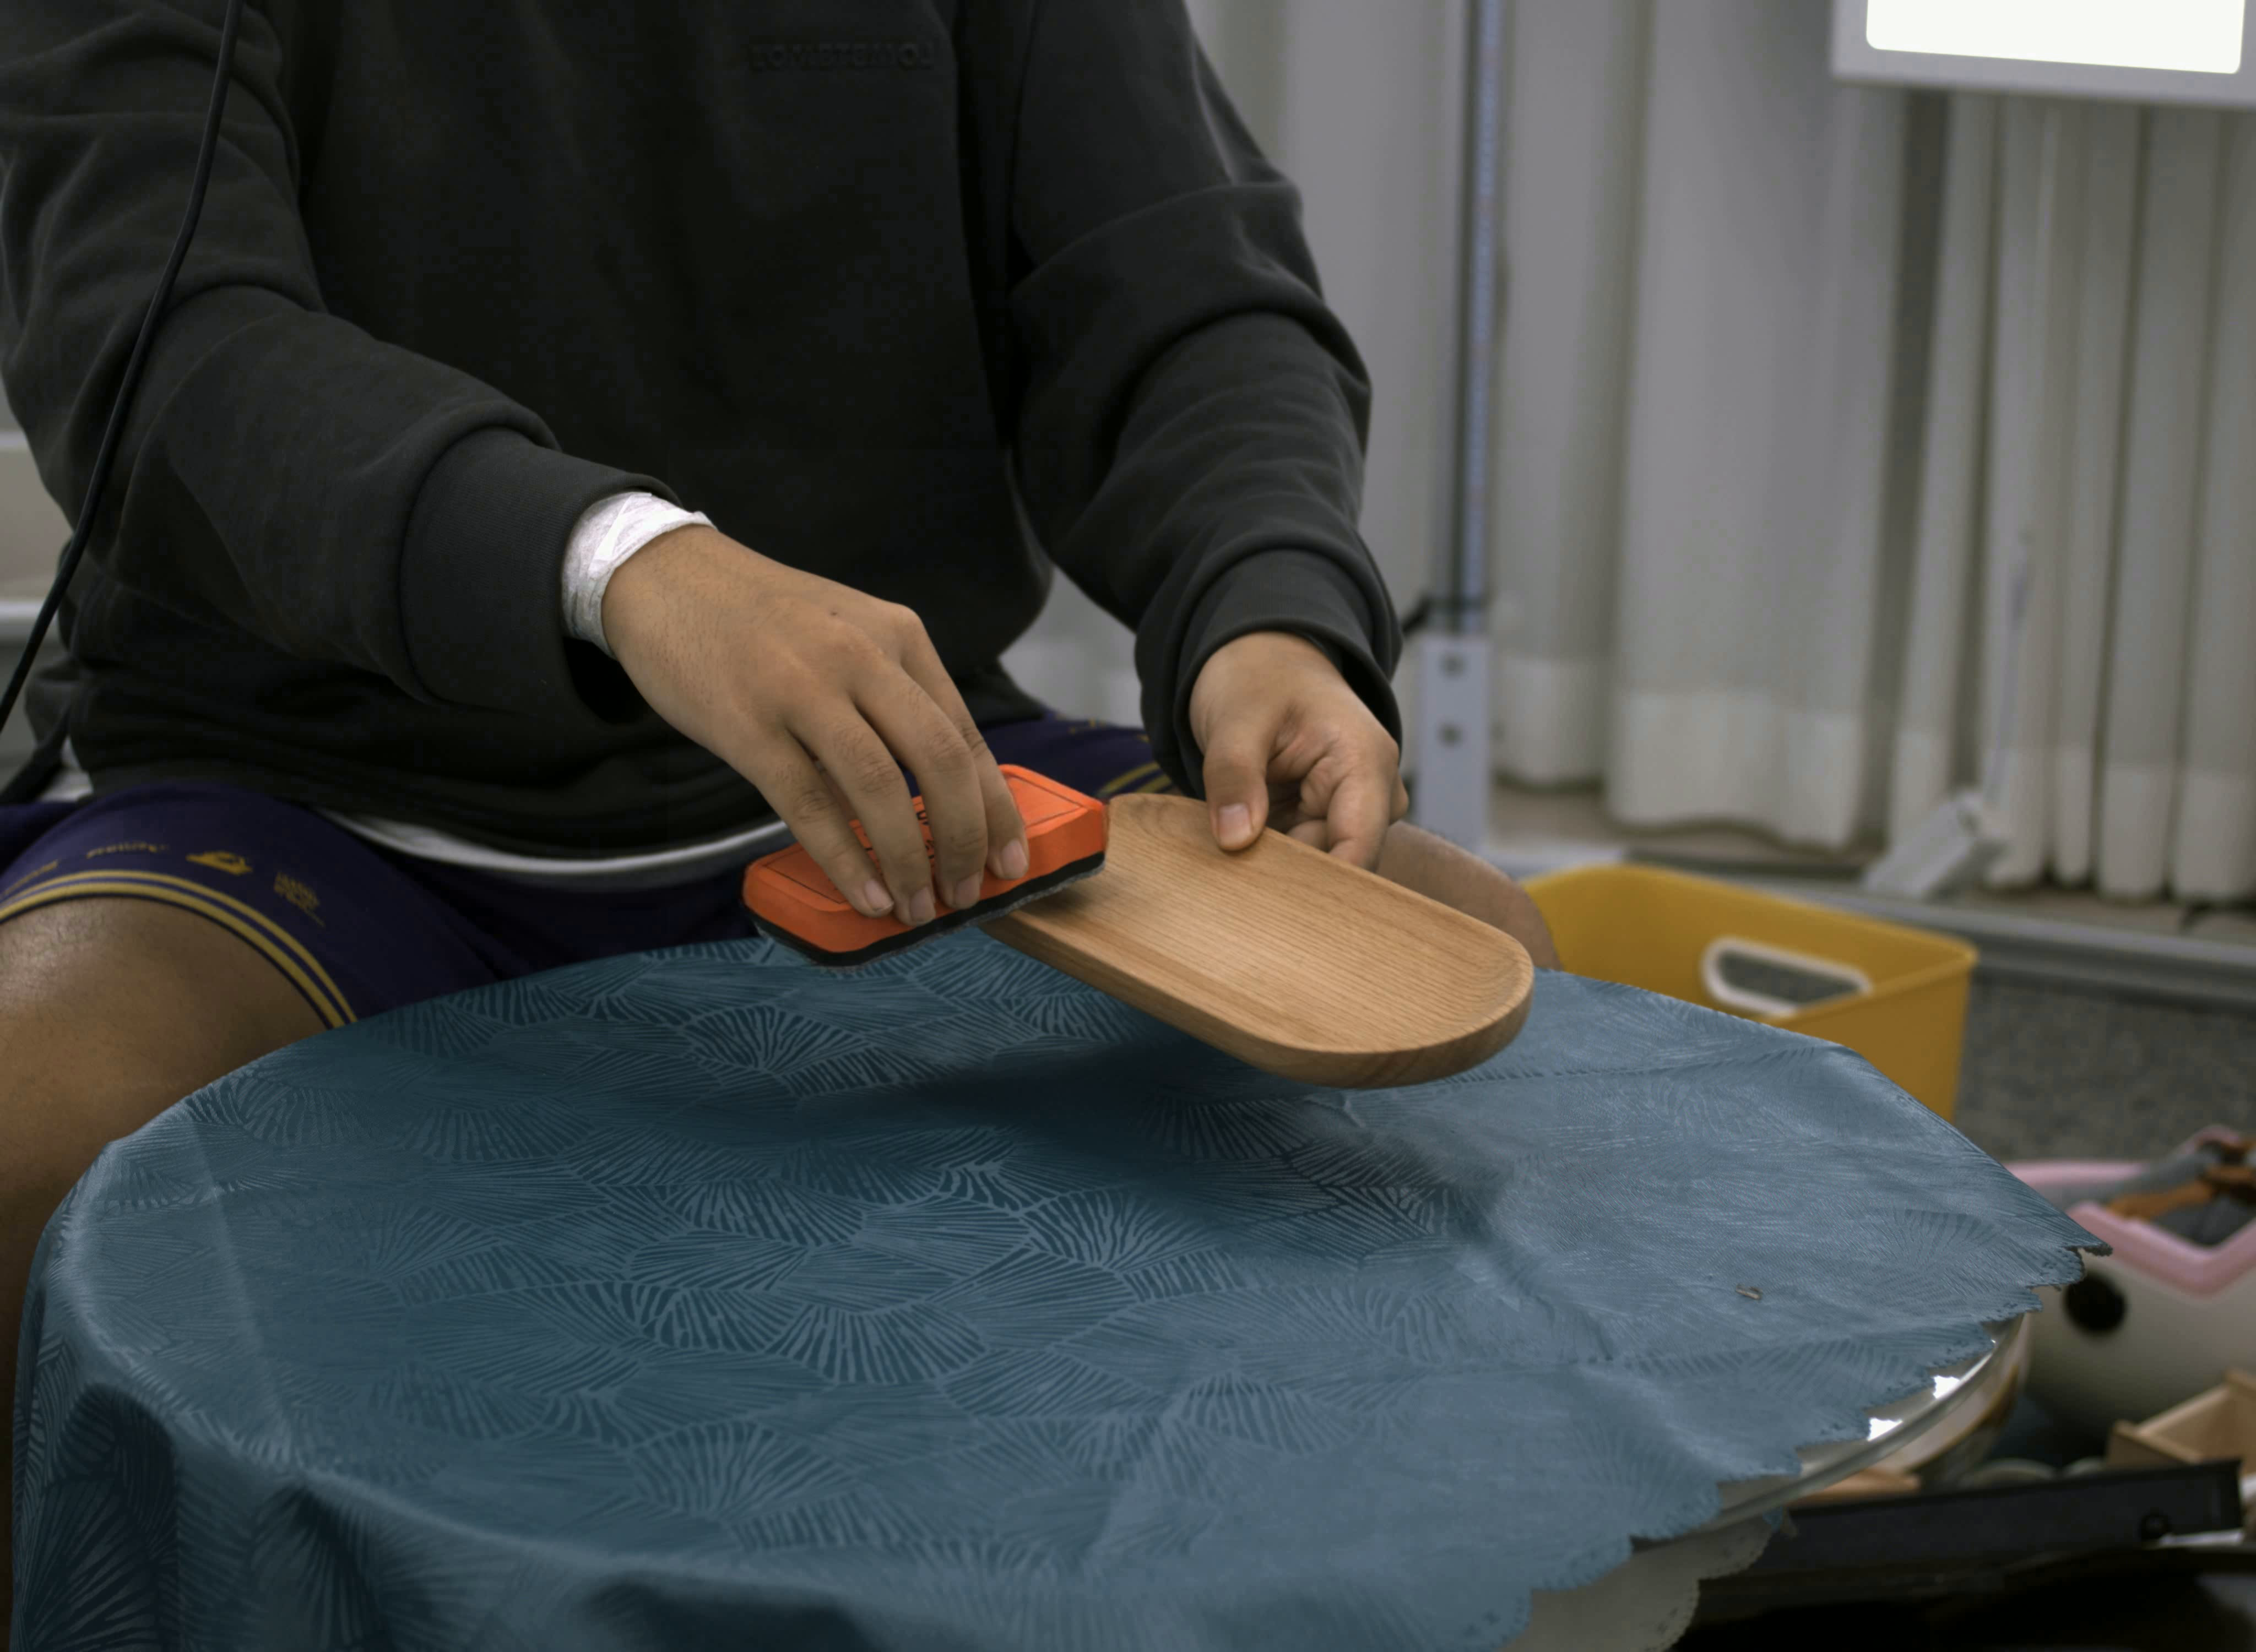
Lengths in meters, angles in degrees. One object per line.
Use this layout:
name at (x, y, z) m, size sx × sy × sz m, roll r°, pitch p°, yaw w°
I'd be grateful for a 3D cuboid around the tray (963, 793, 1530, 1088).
tray at (0.032, 0.035, 1.672) m, size 0.102 × 0.020 × 0.228 m, roll -22°, pitch 29°, yaw -35°

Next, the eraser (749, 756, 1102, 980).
eraser at (-0.064, 0.013, 1.691) m, size 0.108 × 0.023 × 0.058 m, roll -22°, pitch 39°, yaw -30°
